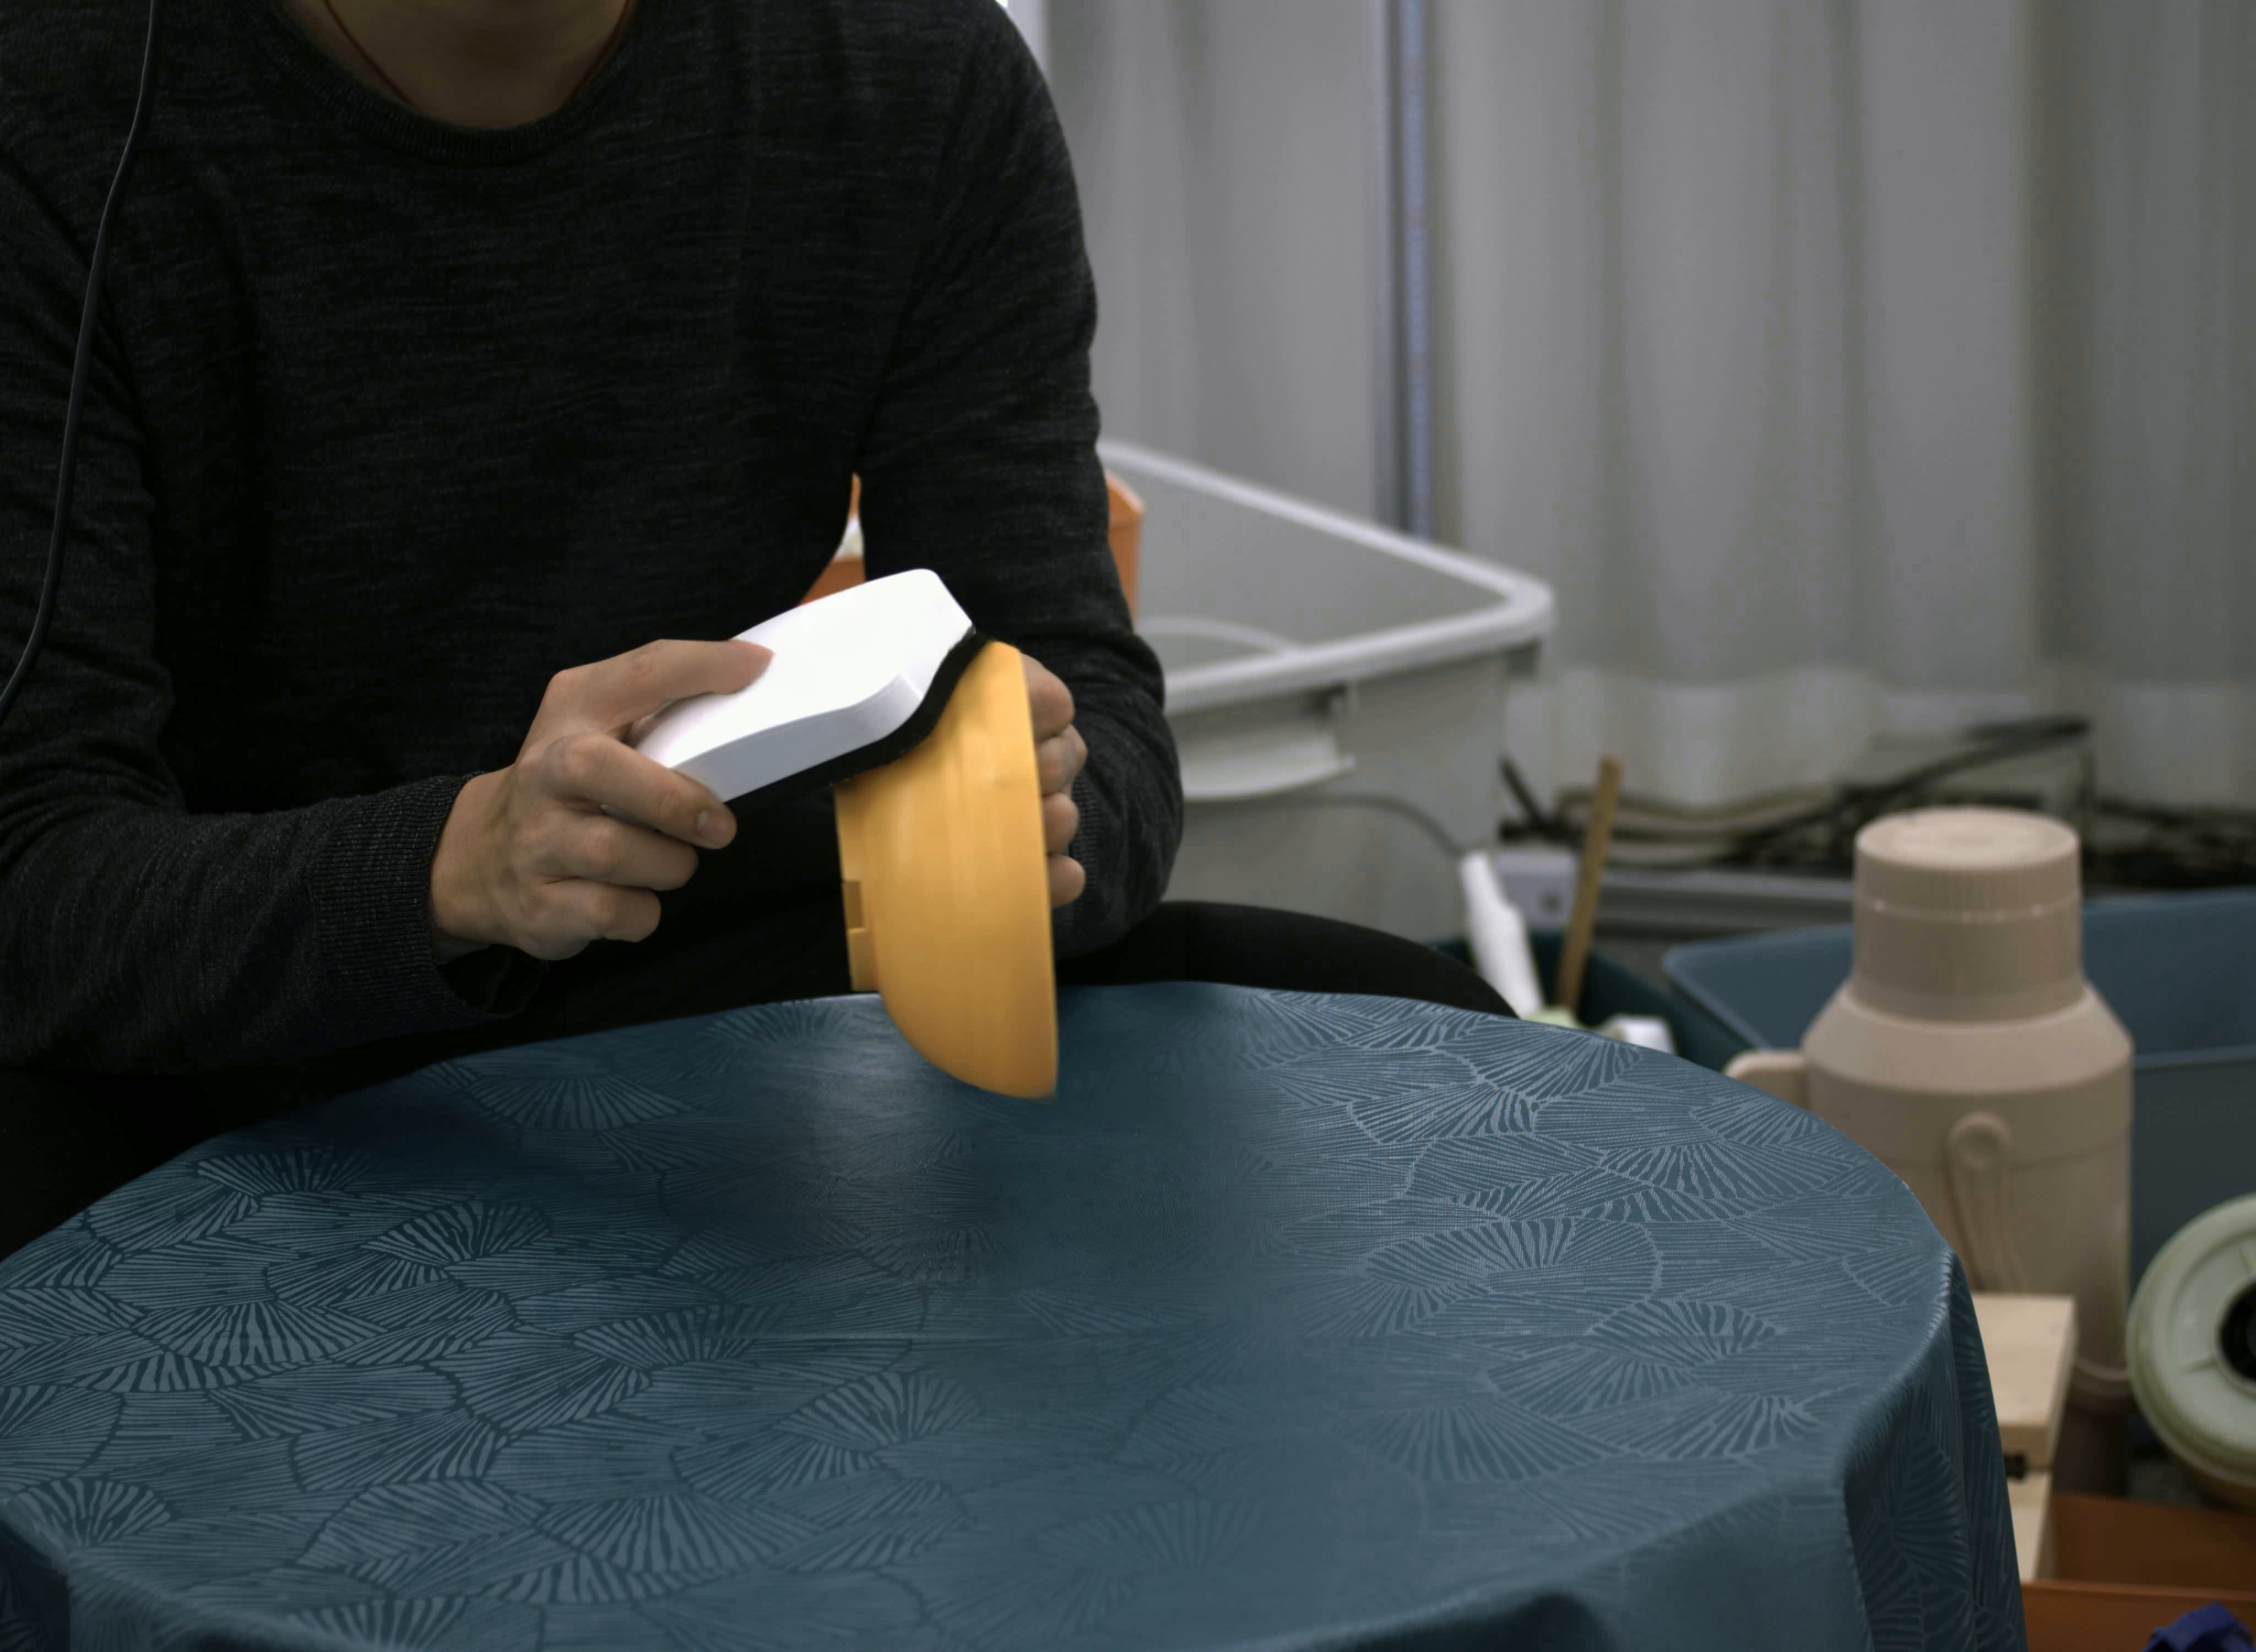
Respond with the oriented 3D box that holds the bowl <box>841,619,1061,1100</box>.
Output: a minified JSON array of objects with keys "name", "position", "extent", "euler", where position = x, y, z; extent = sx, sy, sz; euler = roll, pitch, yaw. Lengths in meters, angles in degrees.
[{"name":"bowl","position":[-0.054,0.012,1.642],"extent":[0.060,0.145,0.146],"euler":[-5,14,-3]}]

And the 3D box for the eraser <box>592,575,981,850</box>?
[{"name":"eraser","position":[-0.103,-0.036,1.636],"extent":[0.131,0.034,0.064],"euler":[-19,31,39]}]
